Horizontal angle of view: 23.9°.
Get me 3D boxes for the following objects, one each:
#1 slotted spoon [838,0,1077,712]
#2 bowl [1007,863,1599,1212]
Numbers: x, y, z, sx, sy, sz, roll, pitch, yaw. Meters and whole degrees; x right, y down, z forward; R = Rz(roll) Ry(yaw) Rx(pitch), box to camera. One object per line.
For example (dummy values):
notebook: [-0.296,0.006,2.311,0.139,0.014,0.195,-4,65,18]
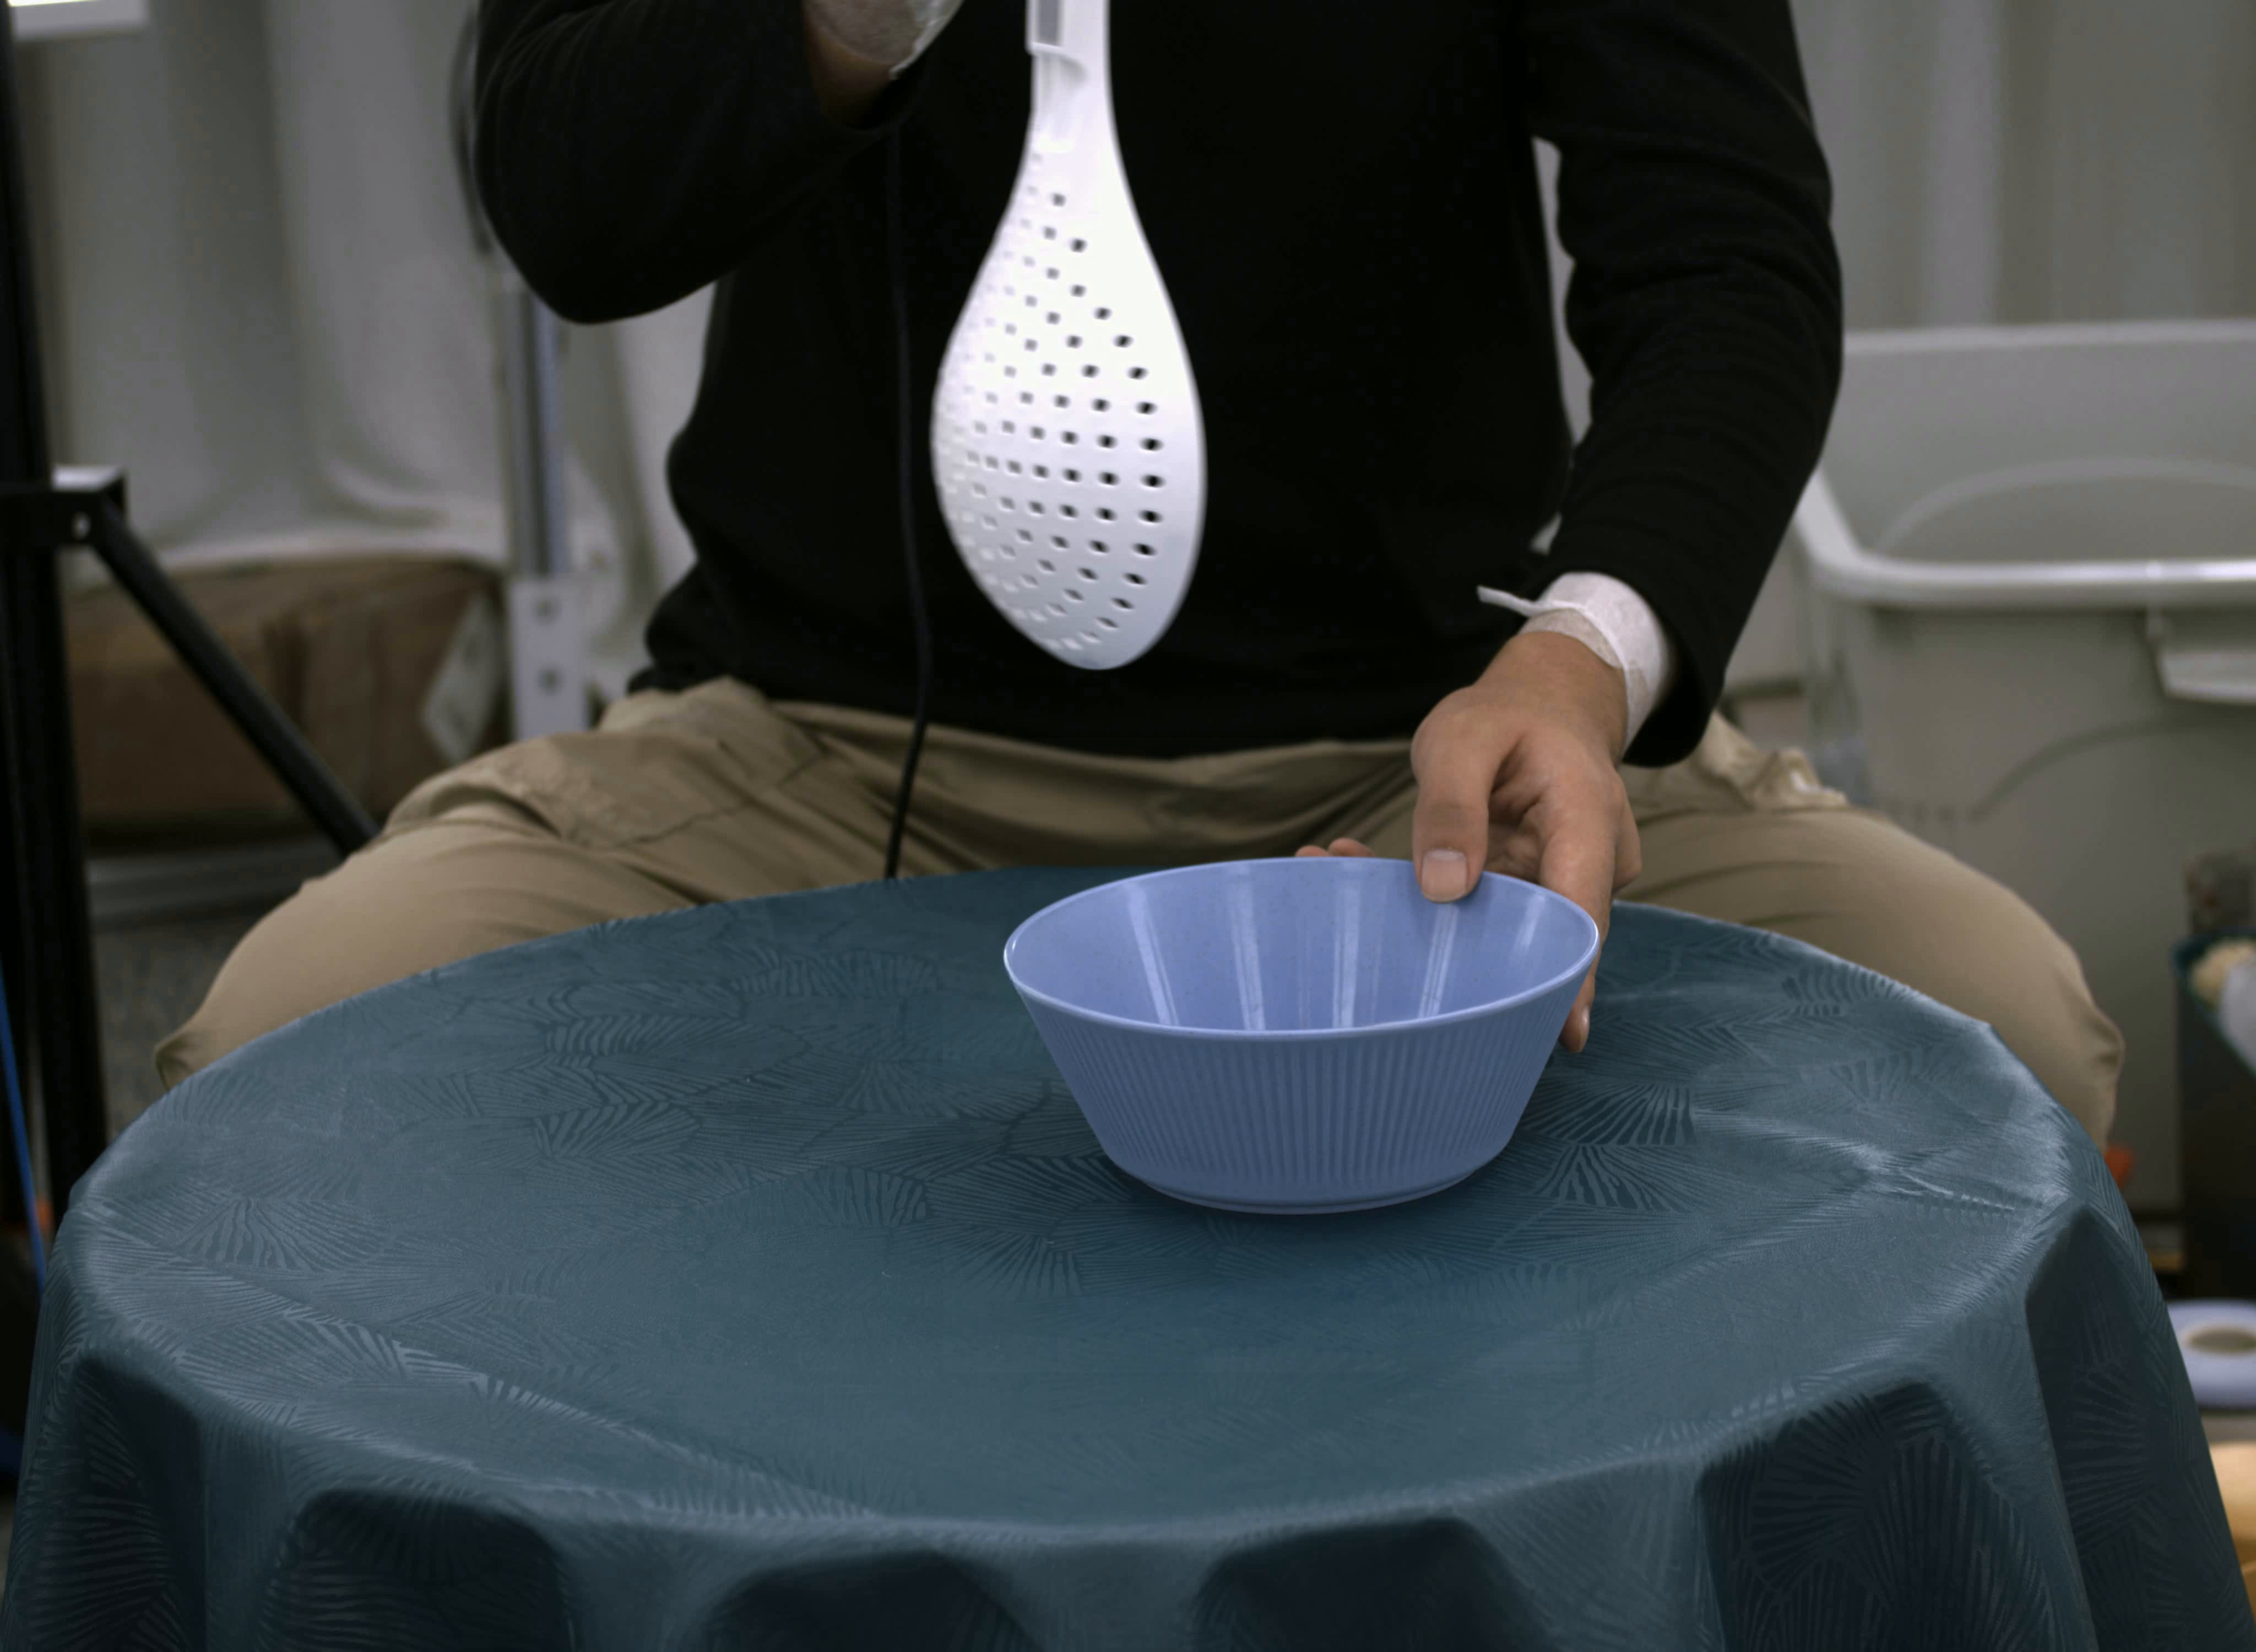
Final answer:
slotted spoon: [-0.050,-0.210,1.601,0.045,0.351,0.138,2,8,-26]
bowl: [0.052,0.065,1.574,0.175,0.070,0.177,-3,14,-1]
